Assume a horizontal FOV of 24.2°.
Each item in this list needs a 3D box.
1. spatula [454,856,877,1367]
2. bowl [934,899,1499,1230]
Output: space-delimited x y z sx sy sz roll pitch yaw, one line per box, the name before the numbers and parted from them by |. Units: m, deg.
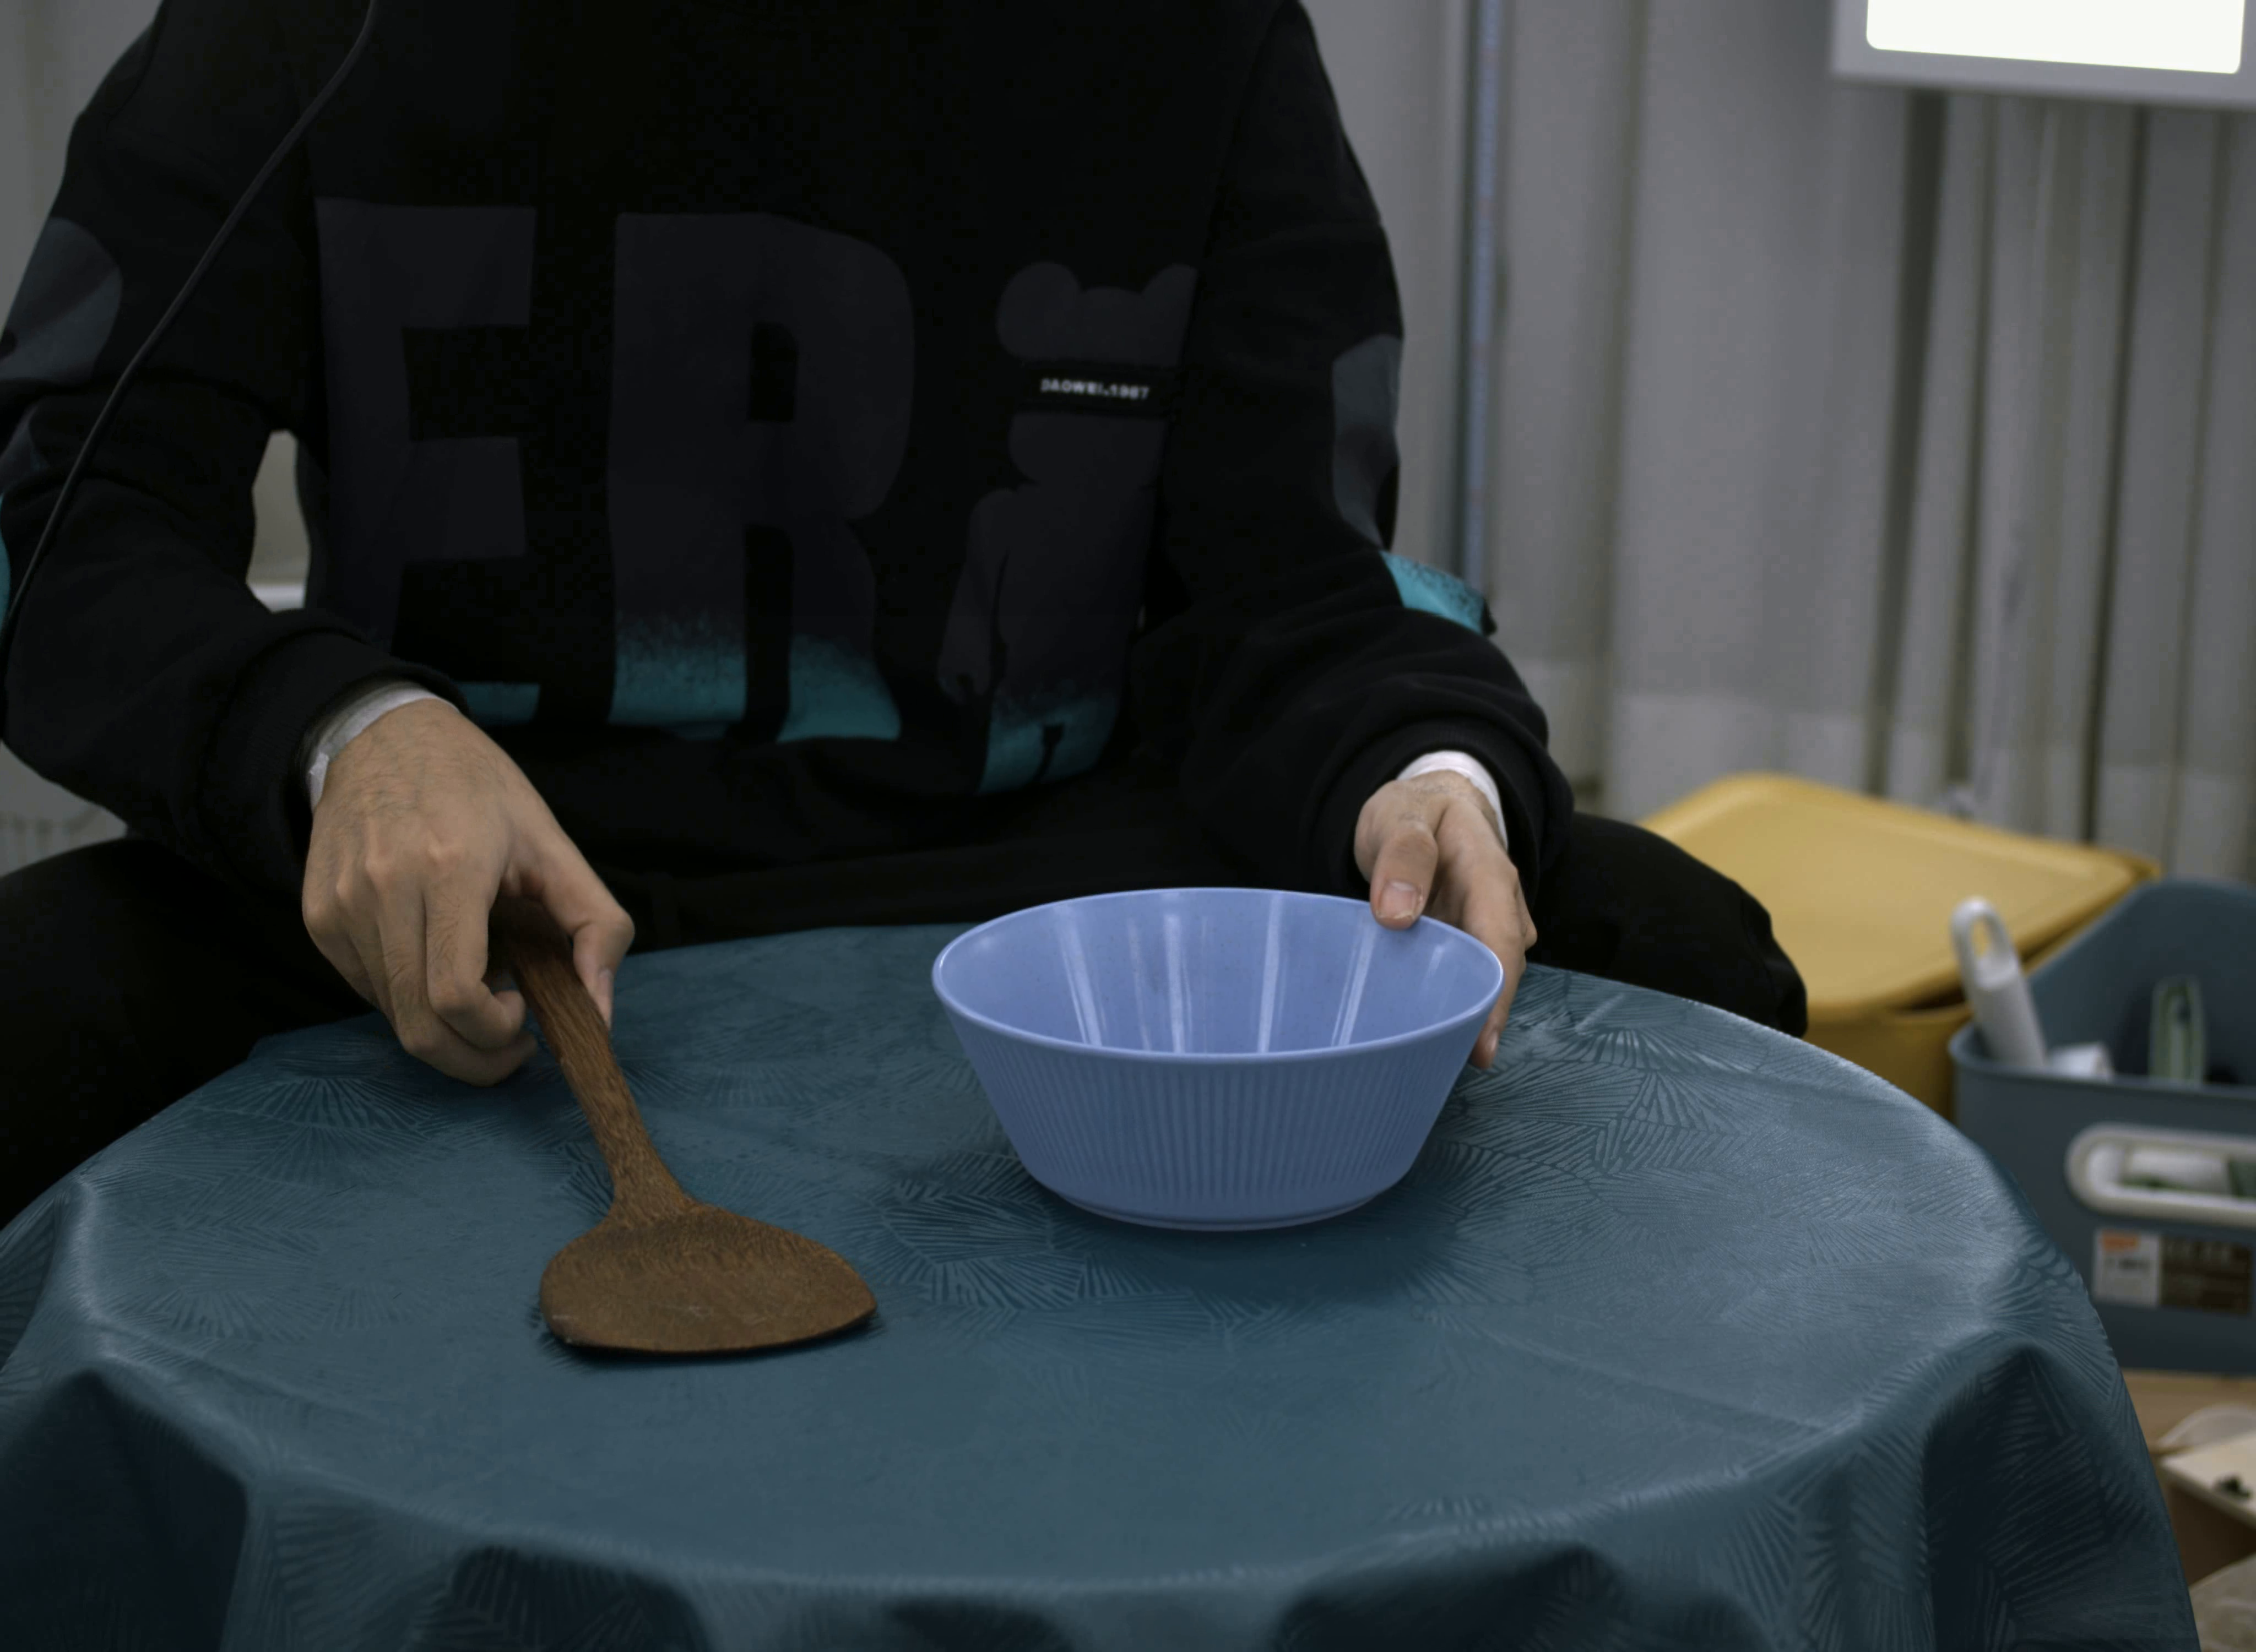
spatula | -0.166 0.081 1.652 0.096 0.016 0.381 -4 23 -17
bowl | 0.027 0.076 1.631 0.175 0.071 0.175 1 15 0
